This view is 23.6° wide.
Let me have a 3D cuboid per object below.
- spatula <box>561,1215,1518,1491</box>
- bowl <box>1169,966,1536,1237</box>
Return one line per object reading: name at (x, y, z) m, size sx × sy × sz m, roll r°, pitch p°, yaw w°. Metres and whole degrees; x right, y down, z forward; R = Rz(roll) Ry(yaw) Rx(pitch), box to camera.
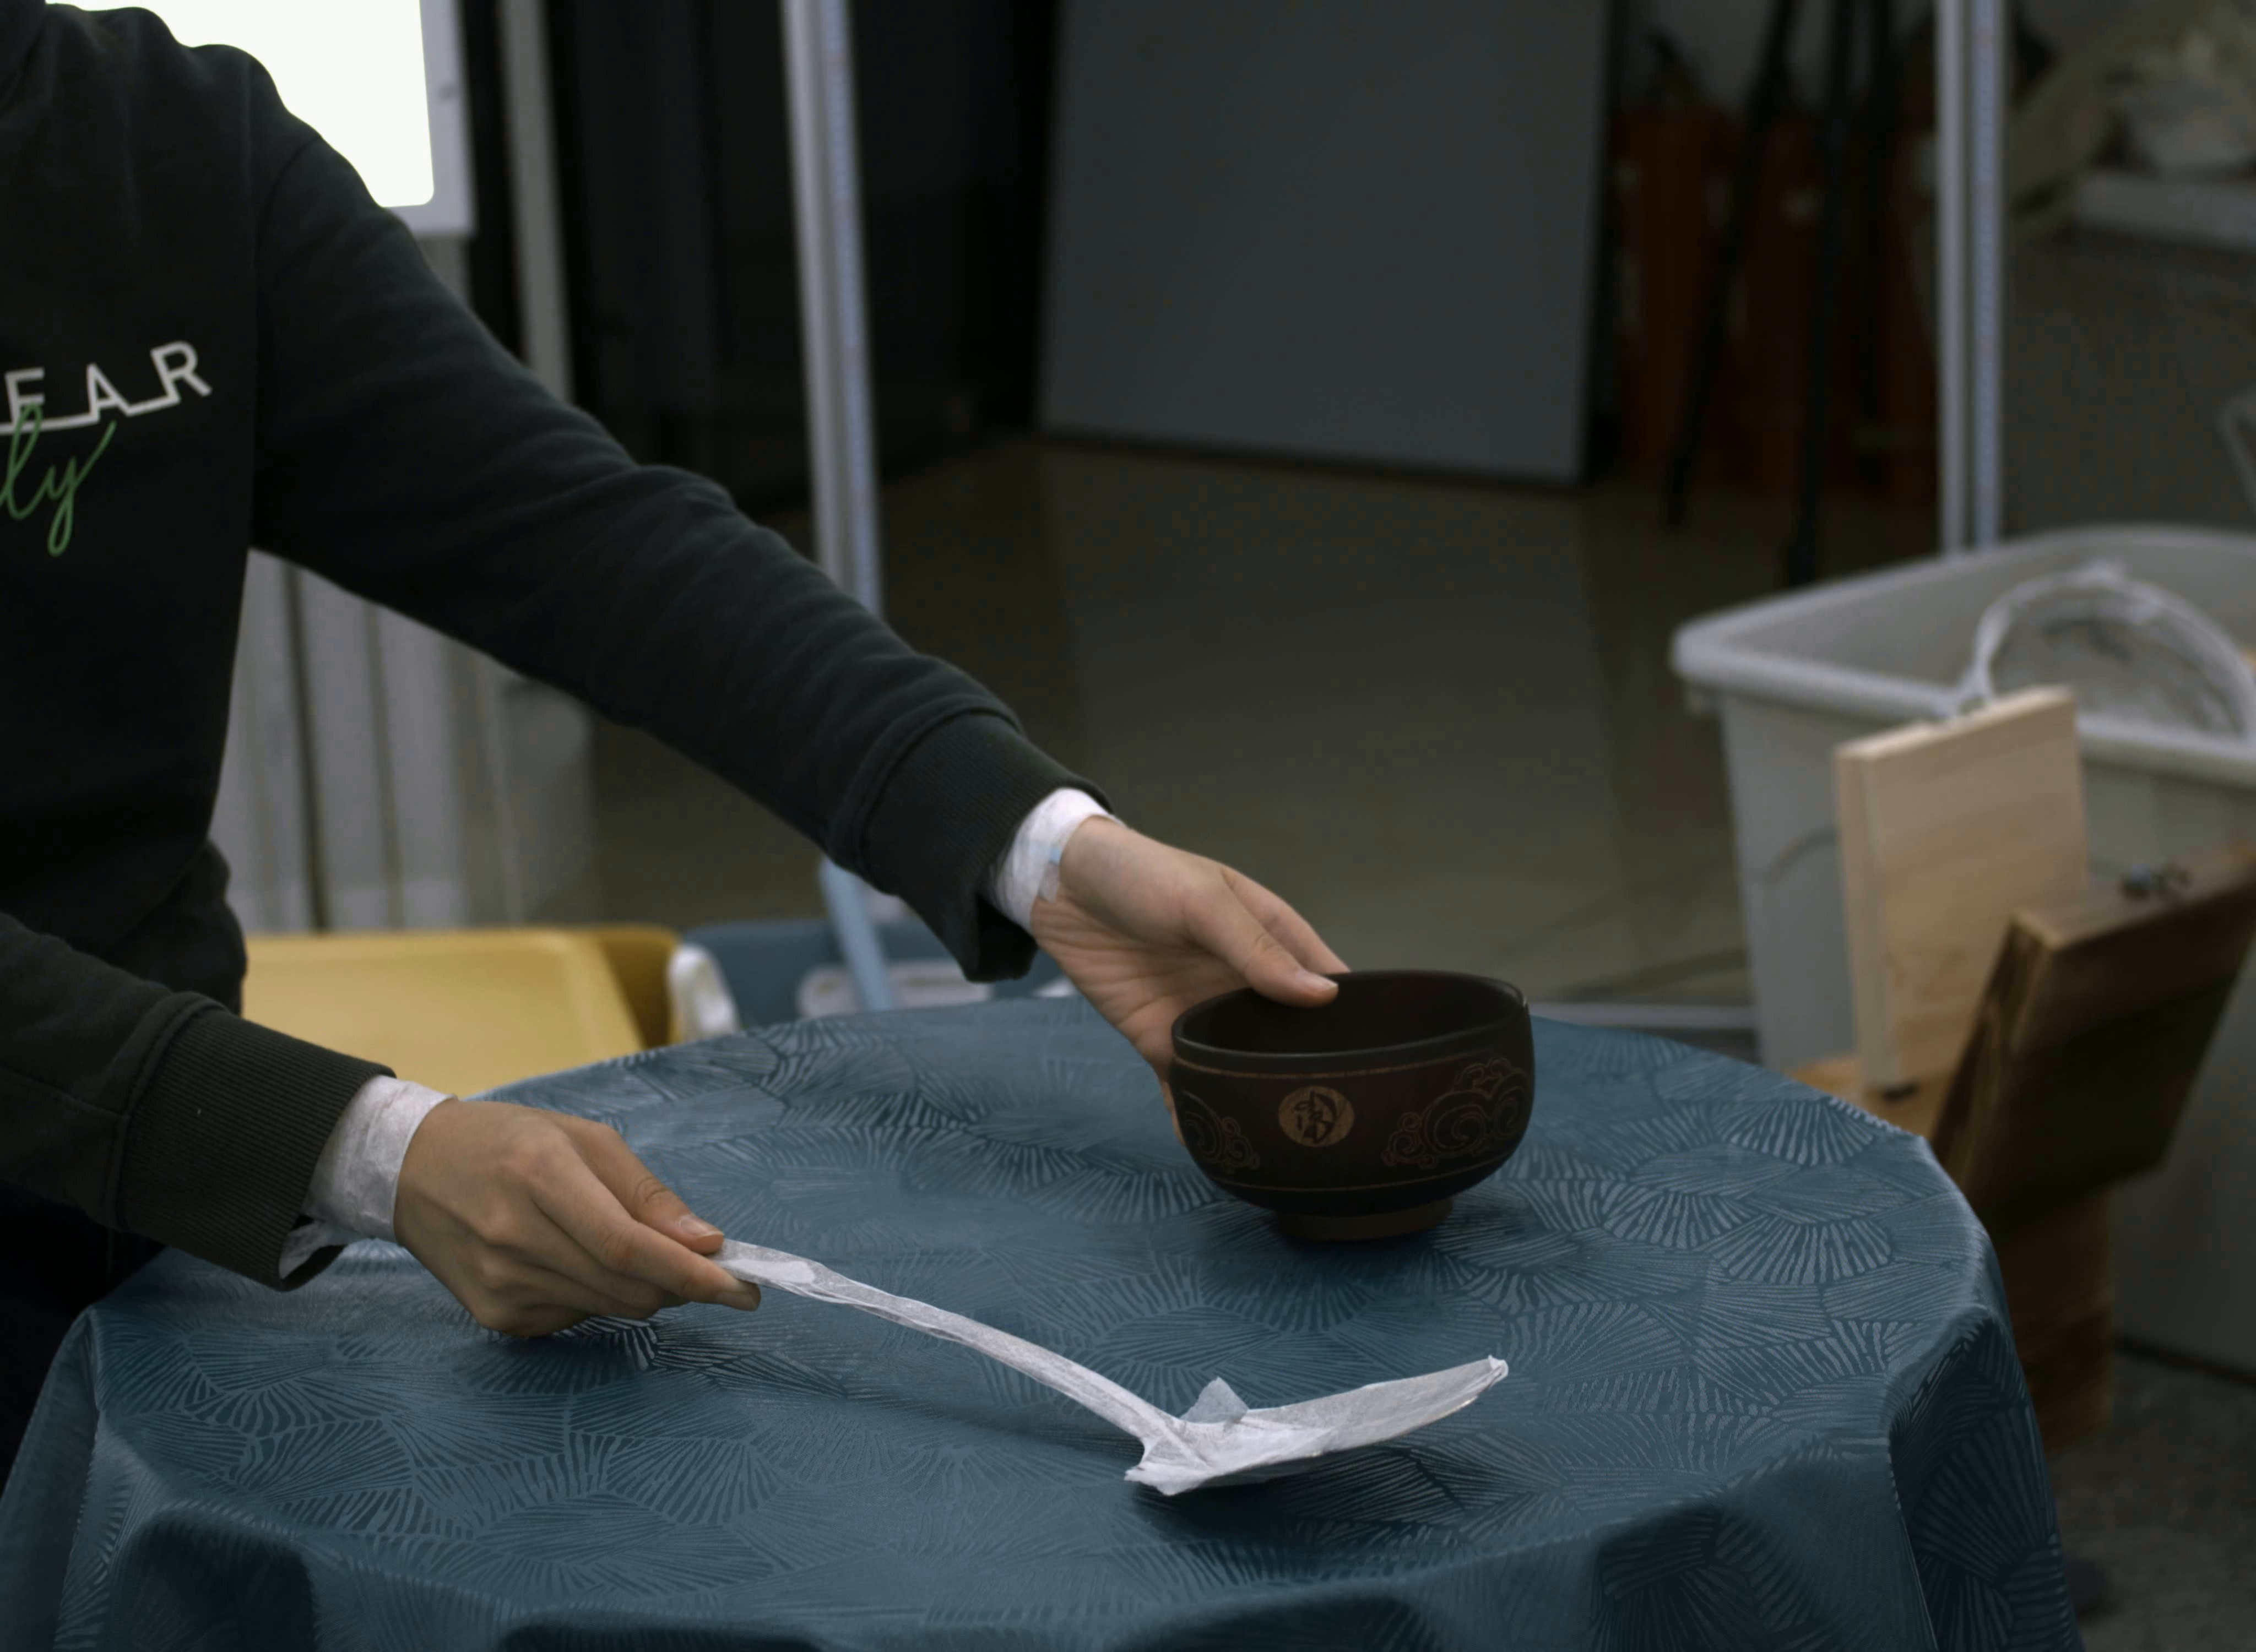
spatula at (-0.047, 0.143, 1.583) m, size 0.368 × 0.045 × 0.097 m, roll 14°, pitch 23°, yaw 40°
bowl at (0.073, 0.090, 1.714) m, size 0.116 × 0.070 × 0.118 m, roll -5°, pitch 9°, yaw 0°
